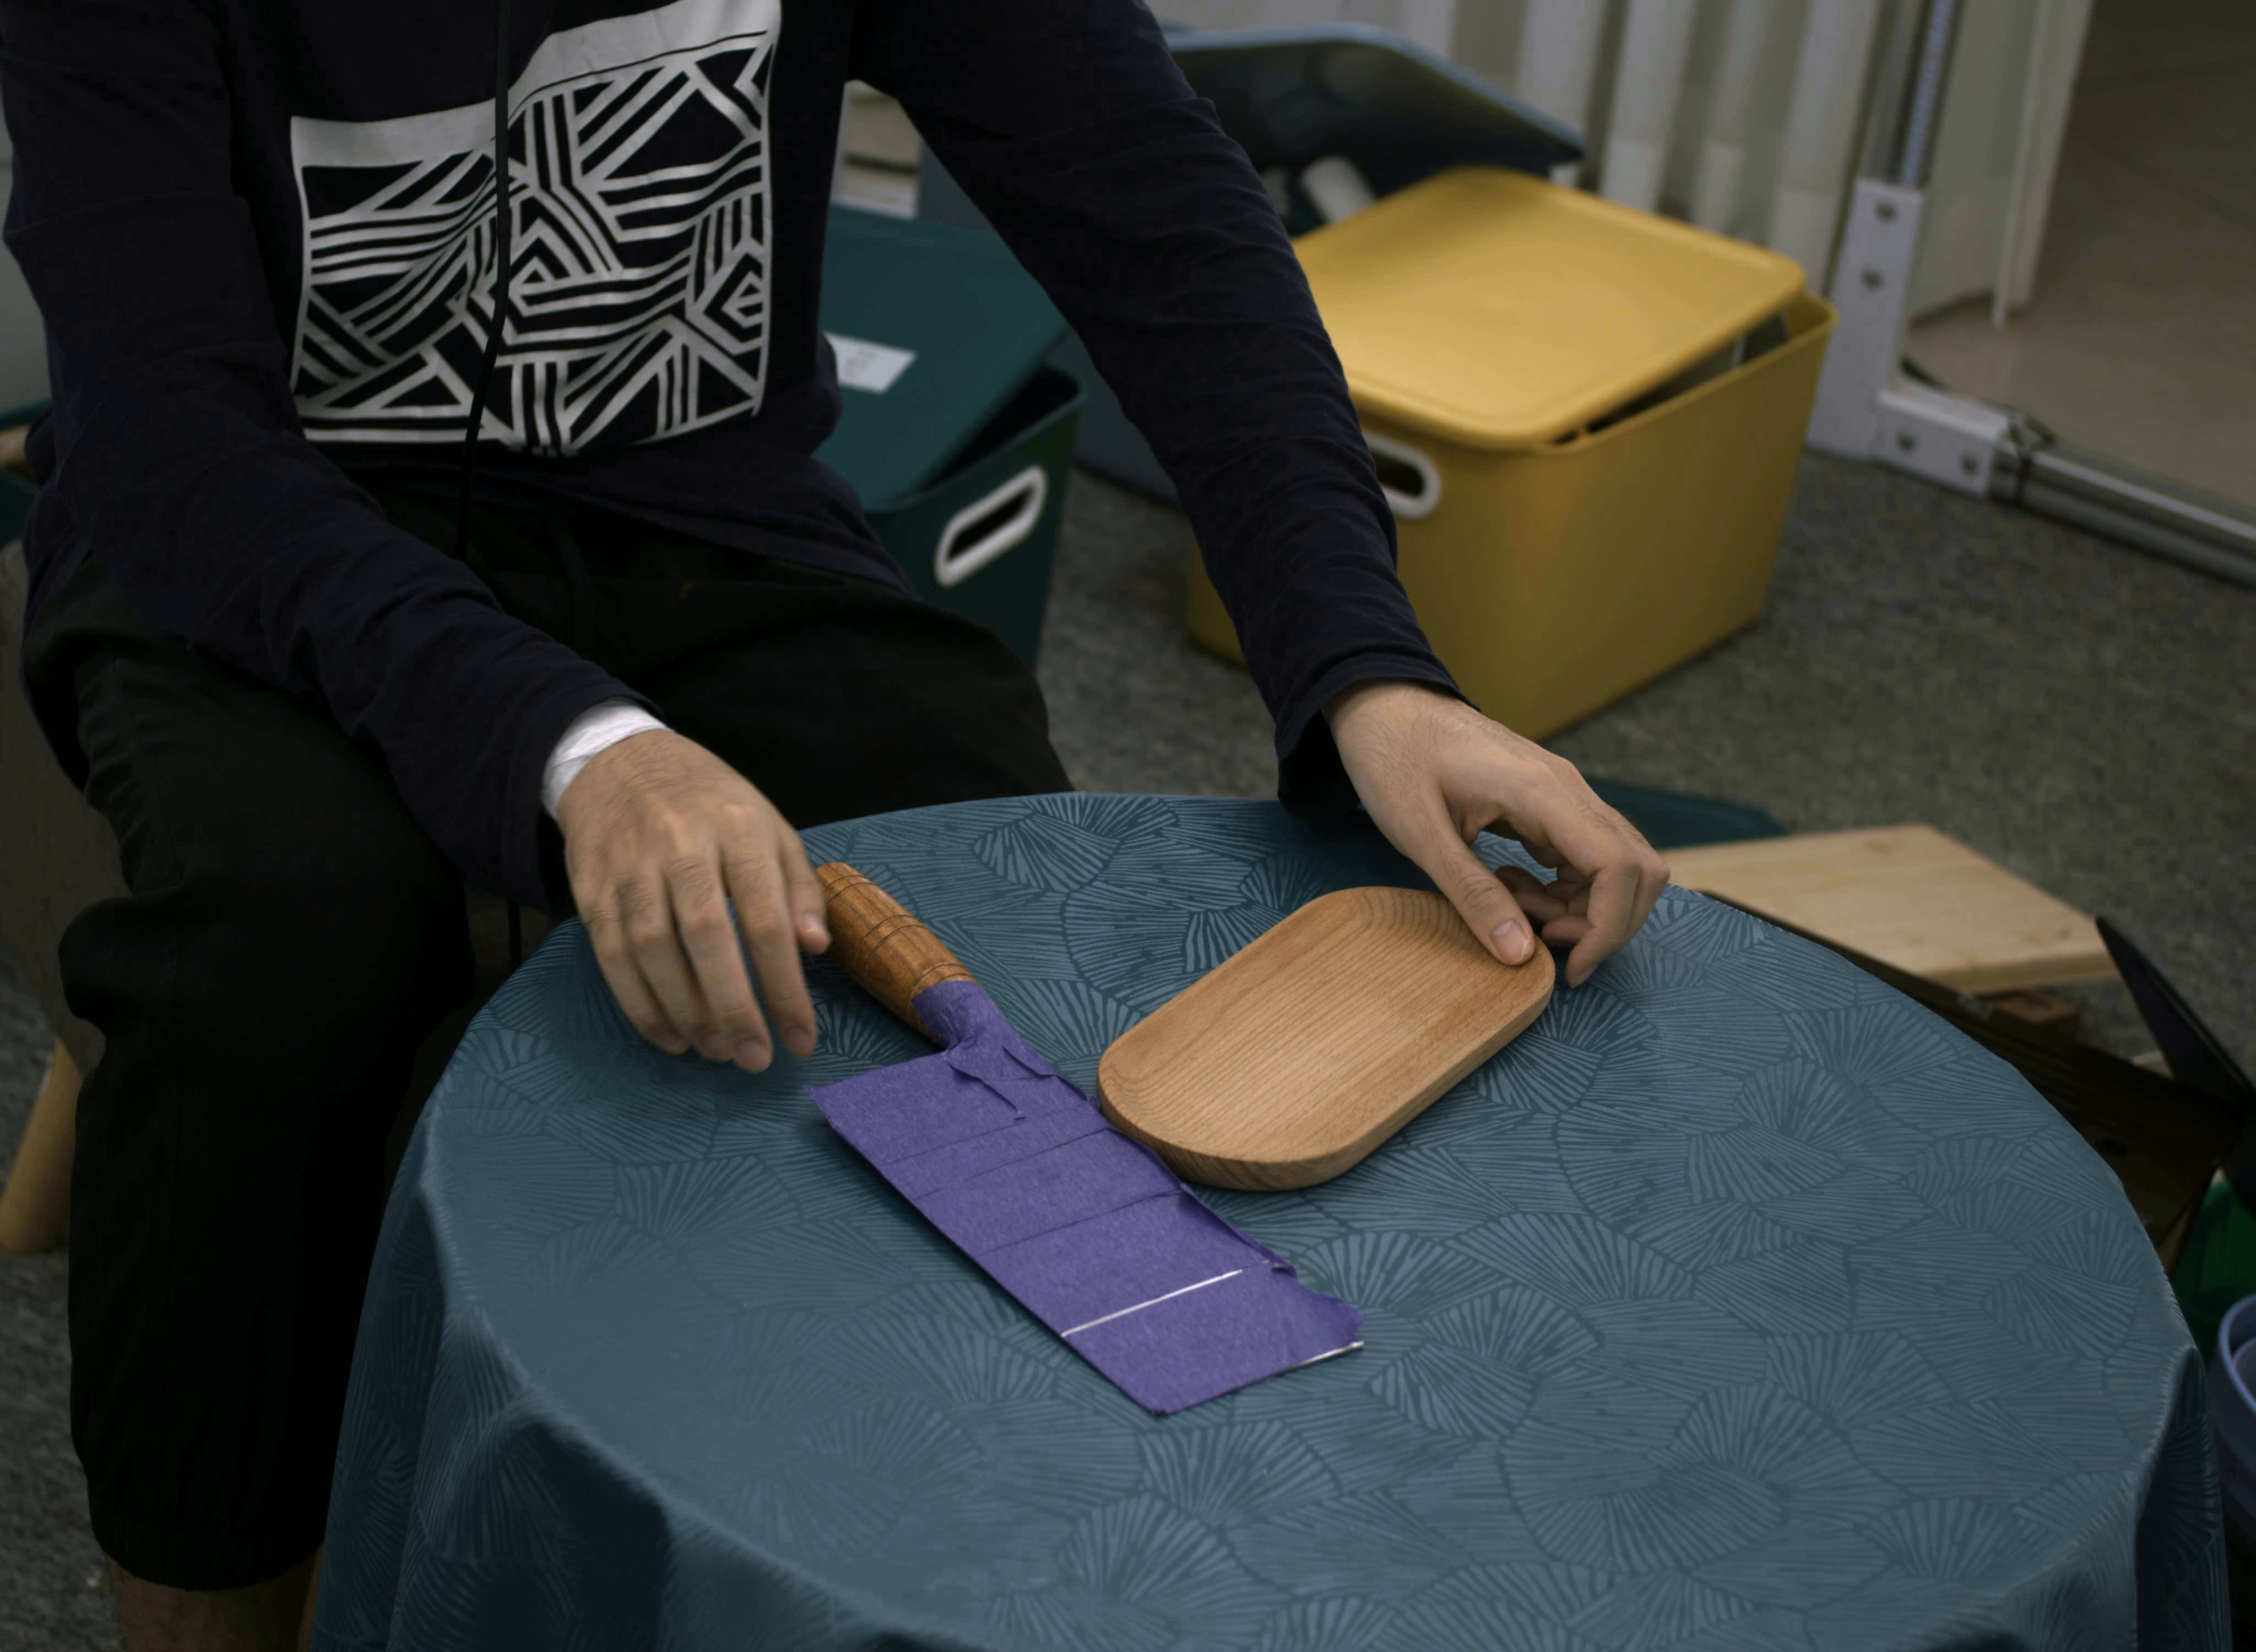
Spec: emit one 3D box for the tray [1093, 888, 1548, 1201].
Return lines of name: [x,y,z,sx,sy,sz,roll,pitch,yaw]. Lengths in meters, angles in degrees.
tray: [0.071,0.076,1.898,0.102,0.020,0.231,19,31,24]

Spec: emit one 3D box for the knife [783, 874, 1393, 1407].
knife: [-0.044,0.102,1.809,0.103,0.032,0.318,-14,33,-35]
